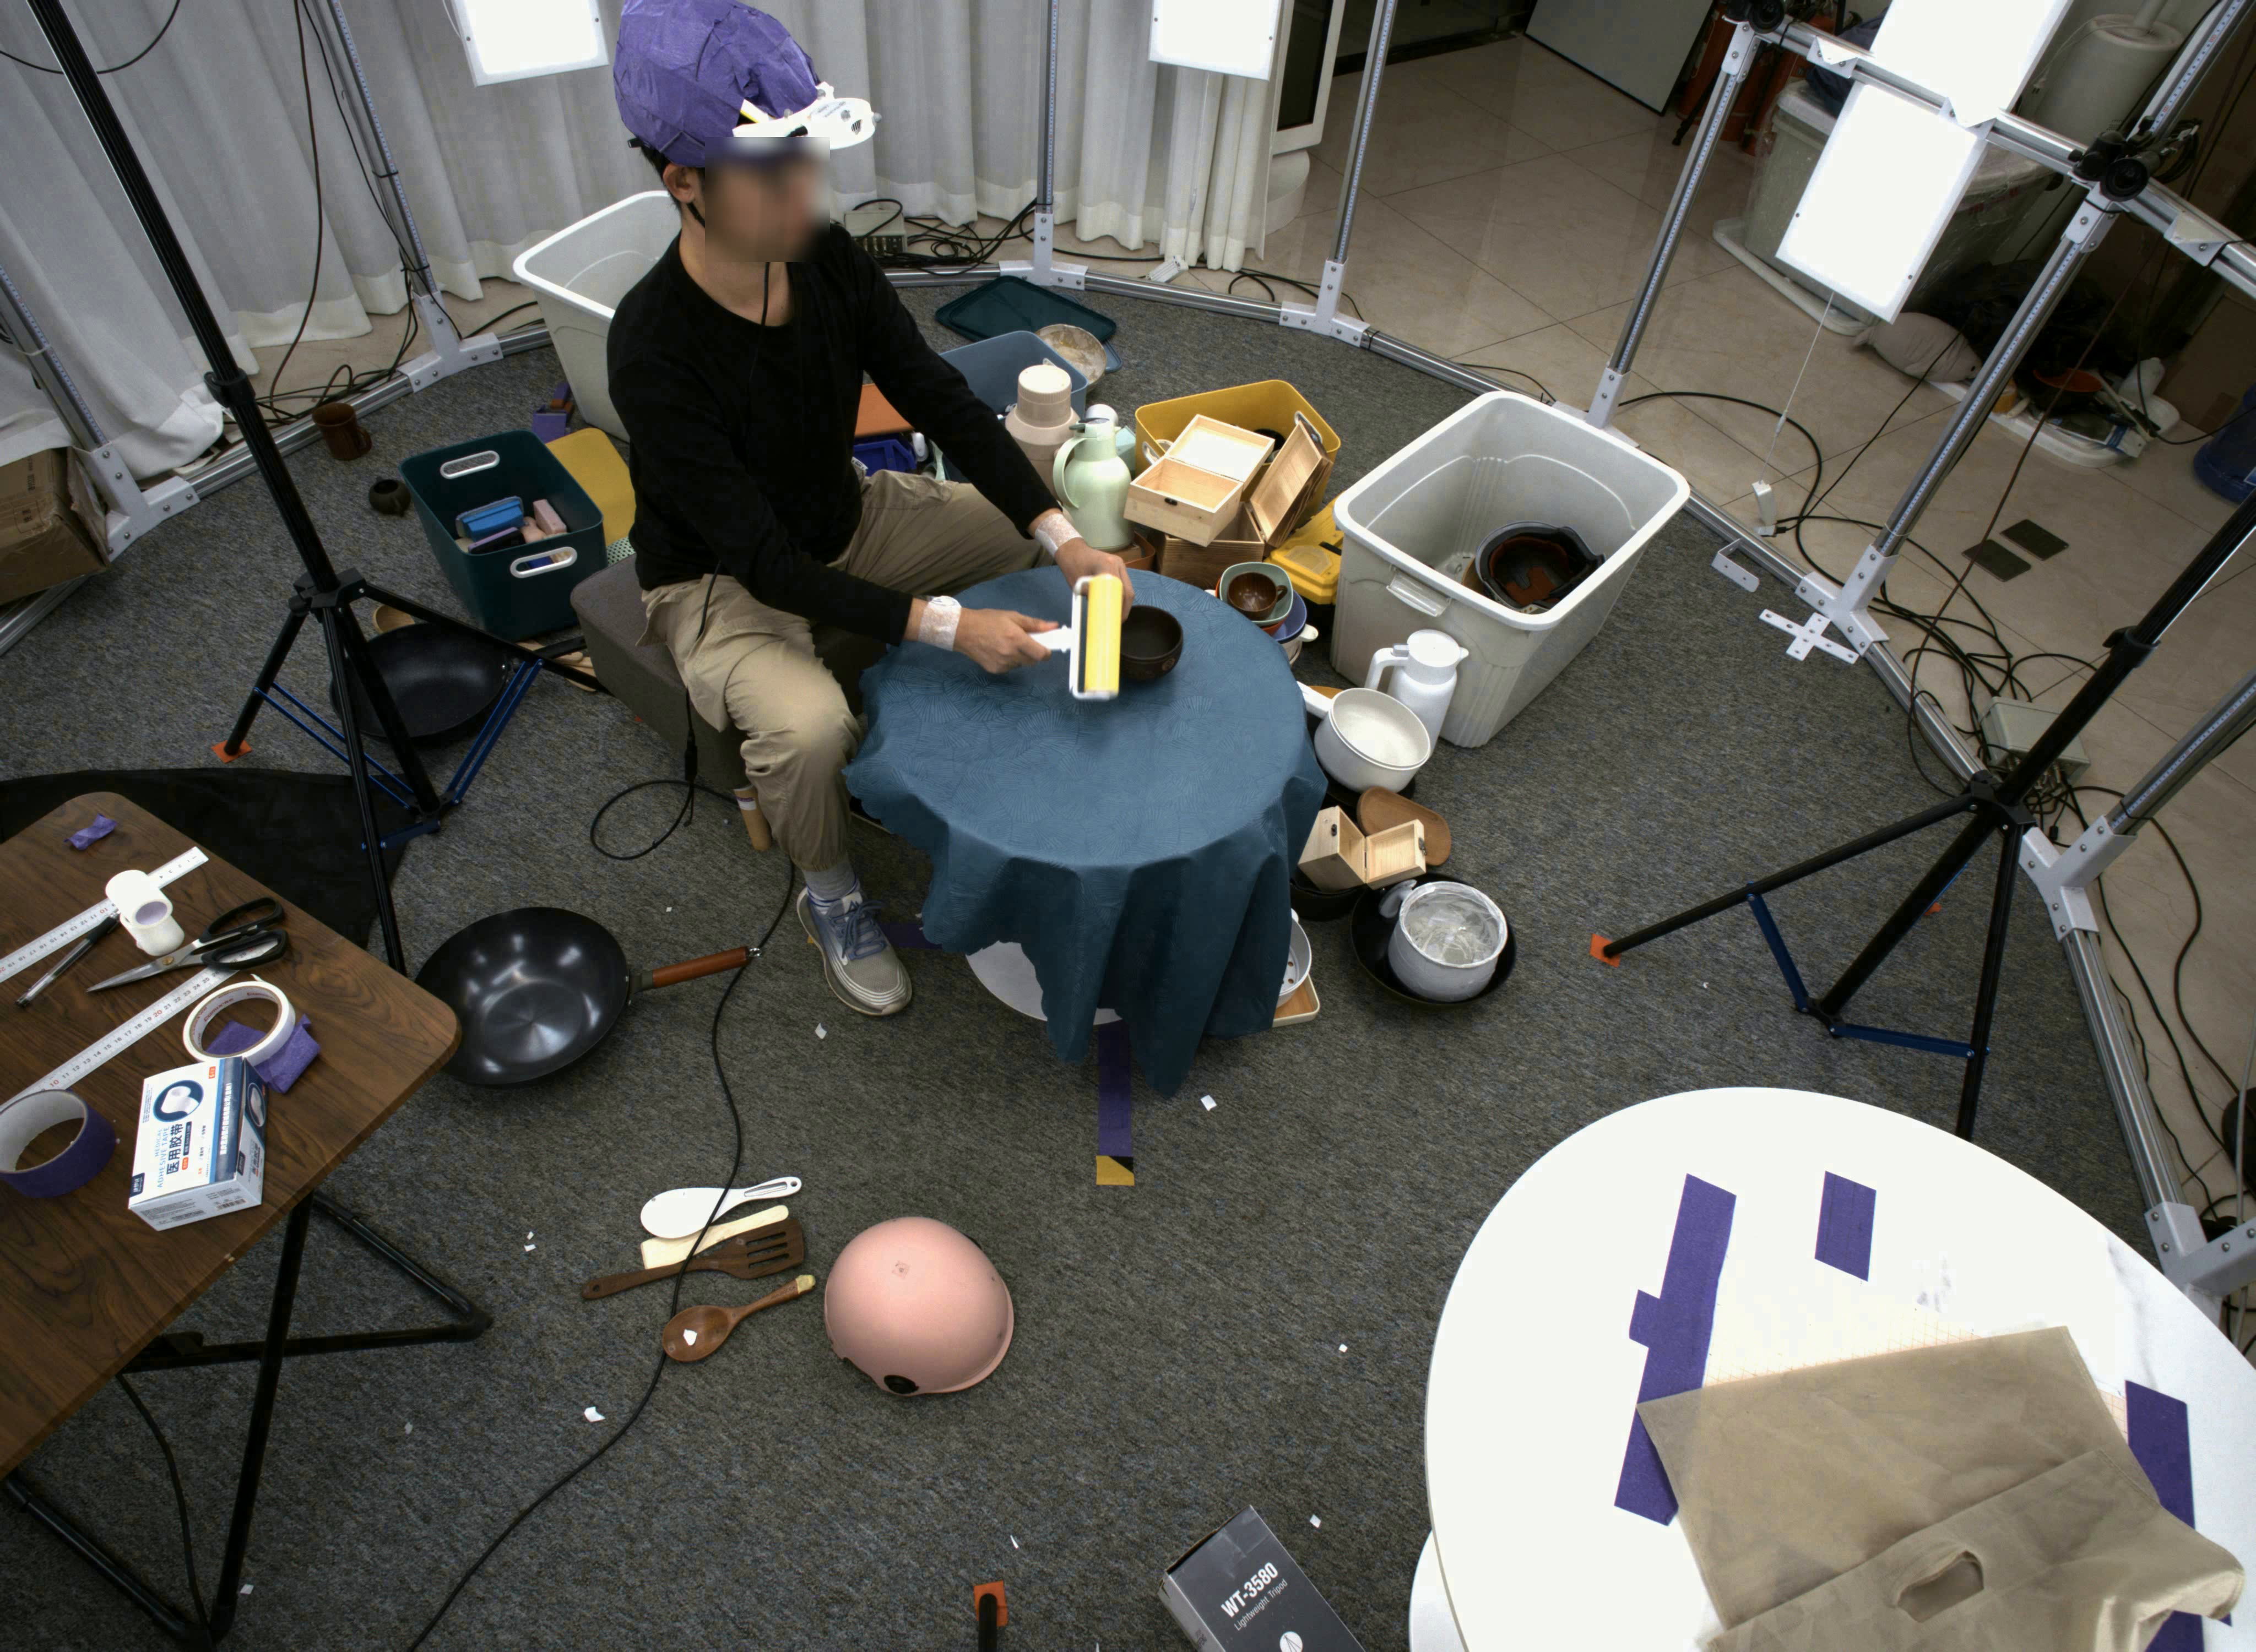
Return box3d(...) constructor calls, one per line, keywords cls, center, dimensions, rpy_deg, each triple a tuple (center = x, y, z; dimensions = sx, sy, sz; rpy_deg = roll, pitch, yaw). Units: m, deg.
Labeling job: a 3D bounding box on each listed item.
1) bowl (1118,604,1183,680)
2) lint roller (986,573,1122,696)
box3d(cls="bowl", center=(0.018, -0.256, 1.845), dimensions=(0.118, 0.068, 0.121), rpy_deg=(3, 48, -3))
box3d(cls="lint roller", center=(-0.105, -0.262, 1.785), dimensions=(0.192, 0.051, 0.176), rpy_deg=(-2, 76, 4))
